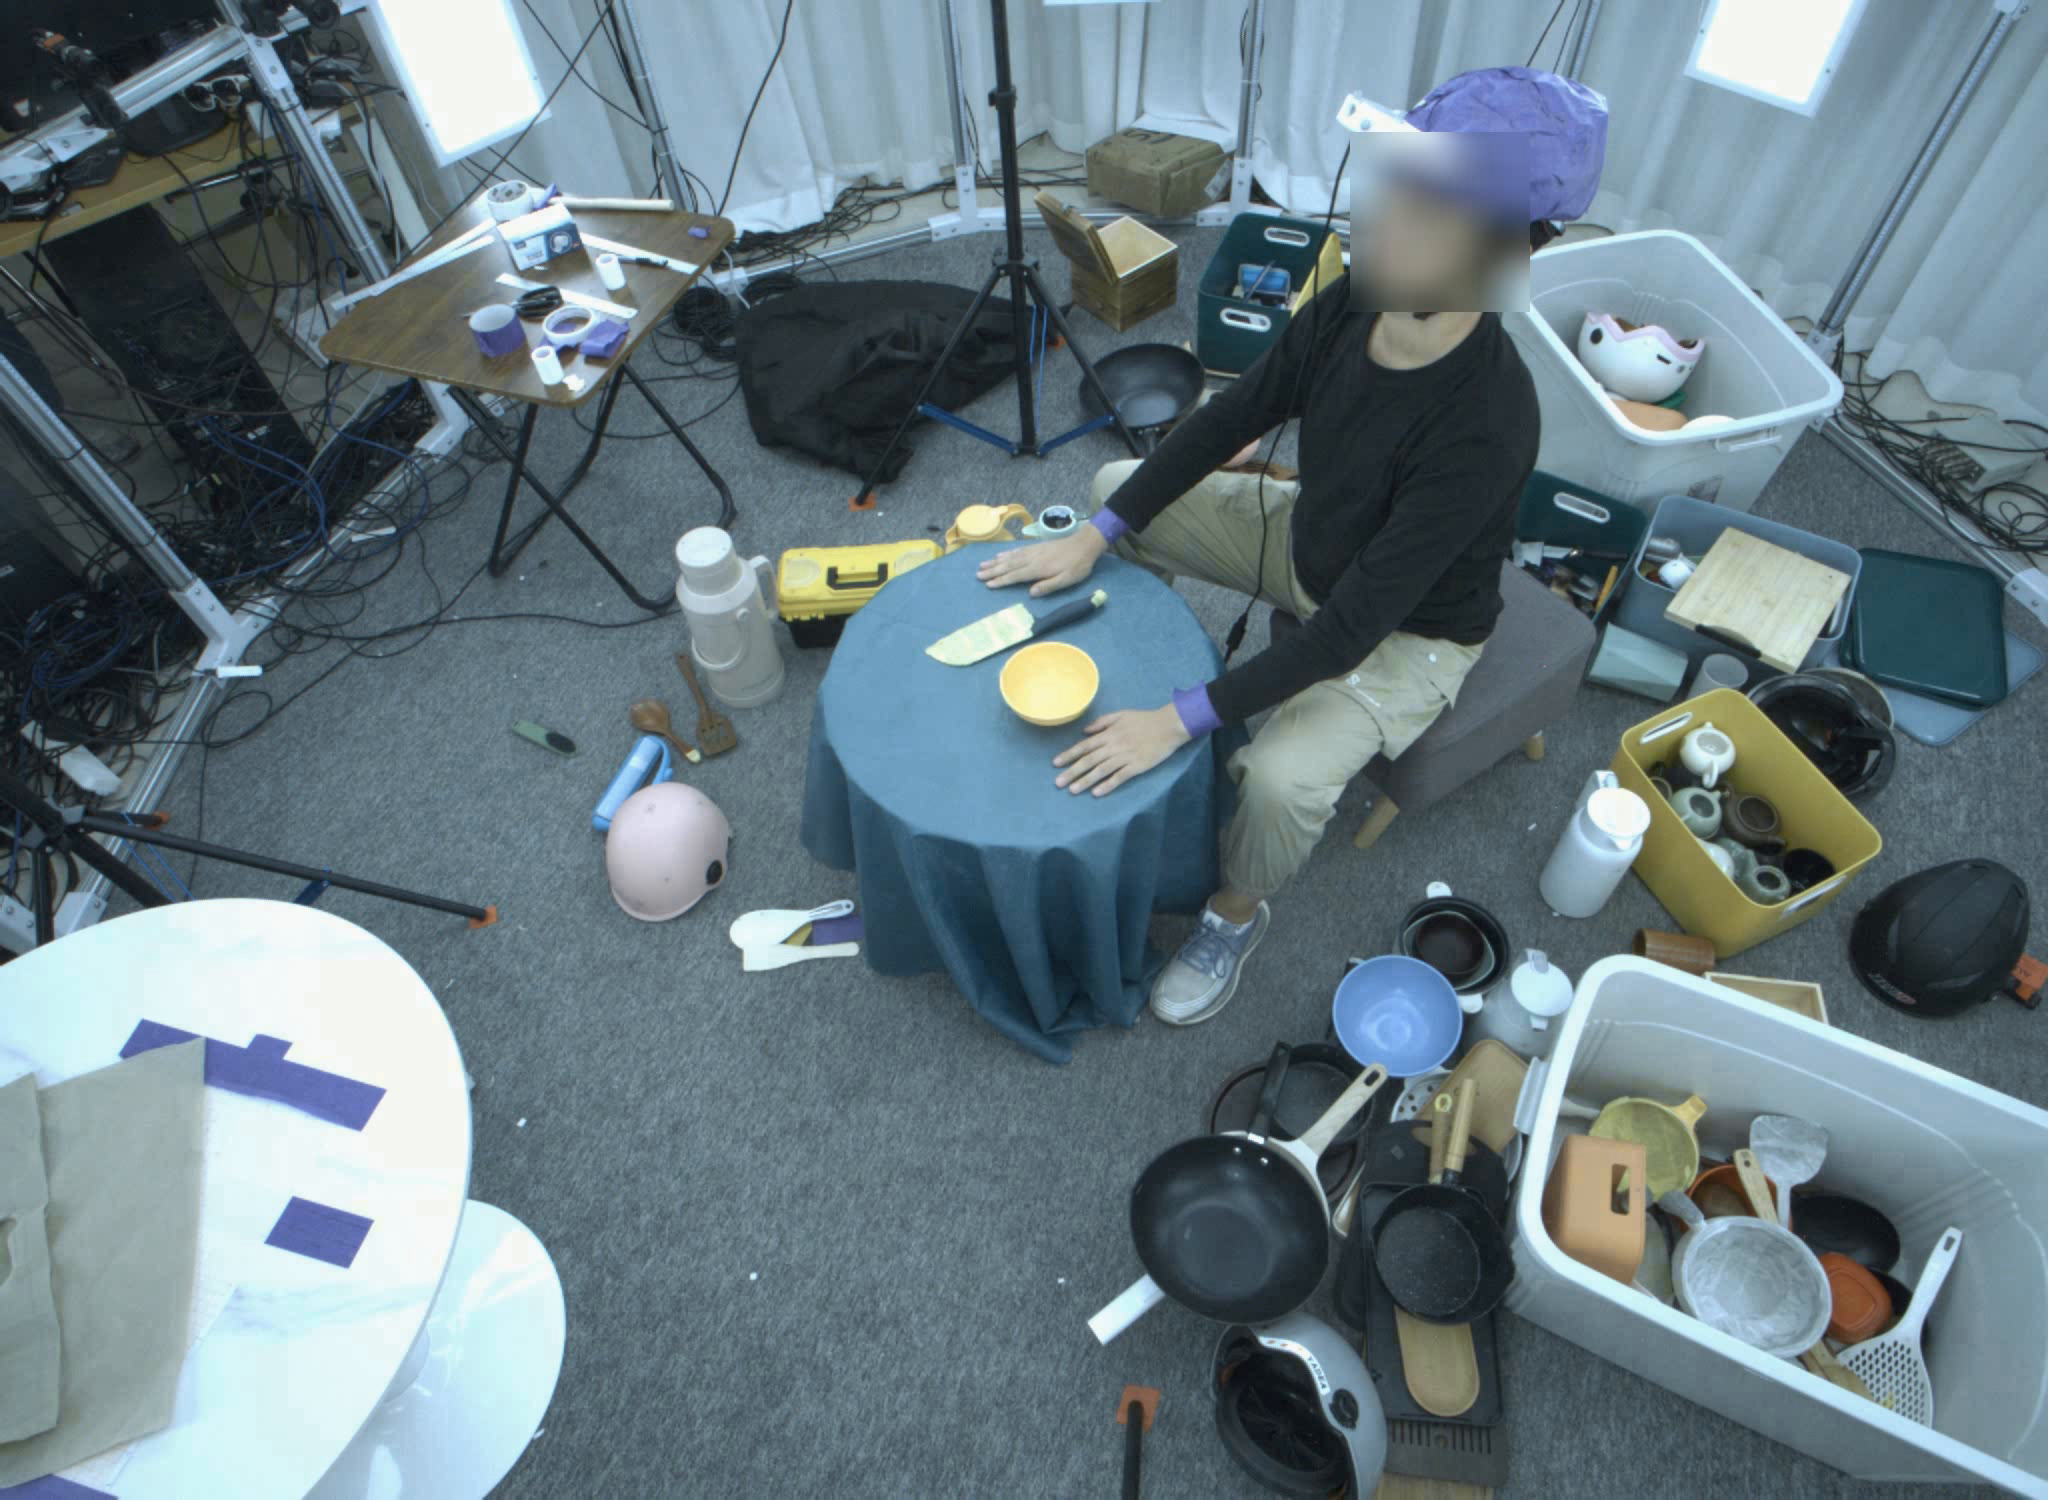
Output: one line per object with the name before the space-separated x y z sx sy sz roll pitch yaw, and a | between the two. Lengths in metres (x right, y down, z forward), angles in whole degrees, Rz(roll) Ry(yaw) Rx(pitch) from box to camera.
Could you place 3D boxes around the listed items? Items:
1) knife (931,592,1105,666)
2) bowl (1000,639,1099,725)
knife | -0.011 -0.196 1.915 0.291 0.027 0.079 -21 58 -12
bowl | 0.038 -0.089 1.809 0.145 0.061 0.144 0 57 1
